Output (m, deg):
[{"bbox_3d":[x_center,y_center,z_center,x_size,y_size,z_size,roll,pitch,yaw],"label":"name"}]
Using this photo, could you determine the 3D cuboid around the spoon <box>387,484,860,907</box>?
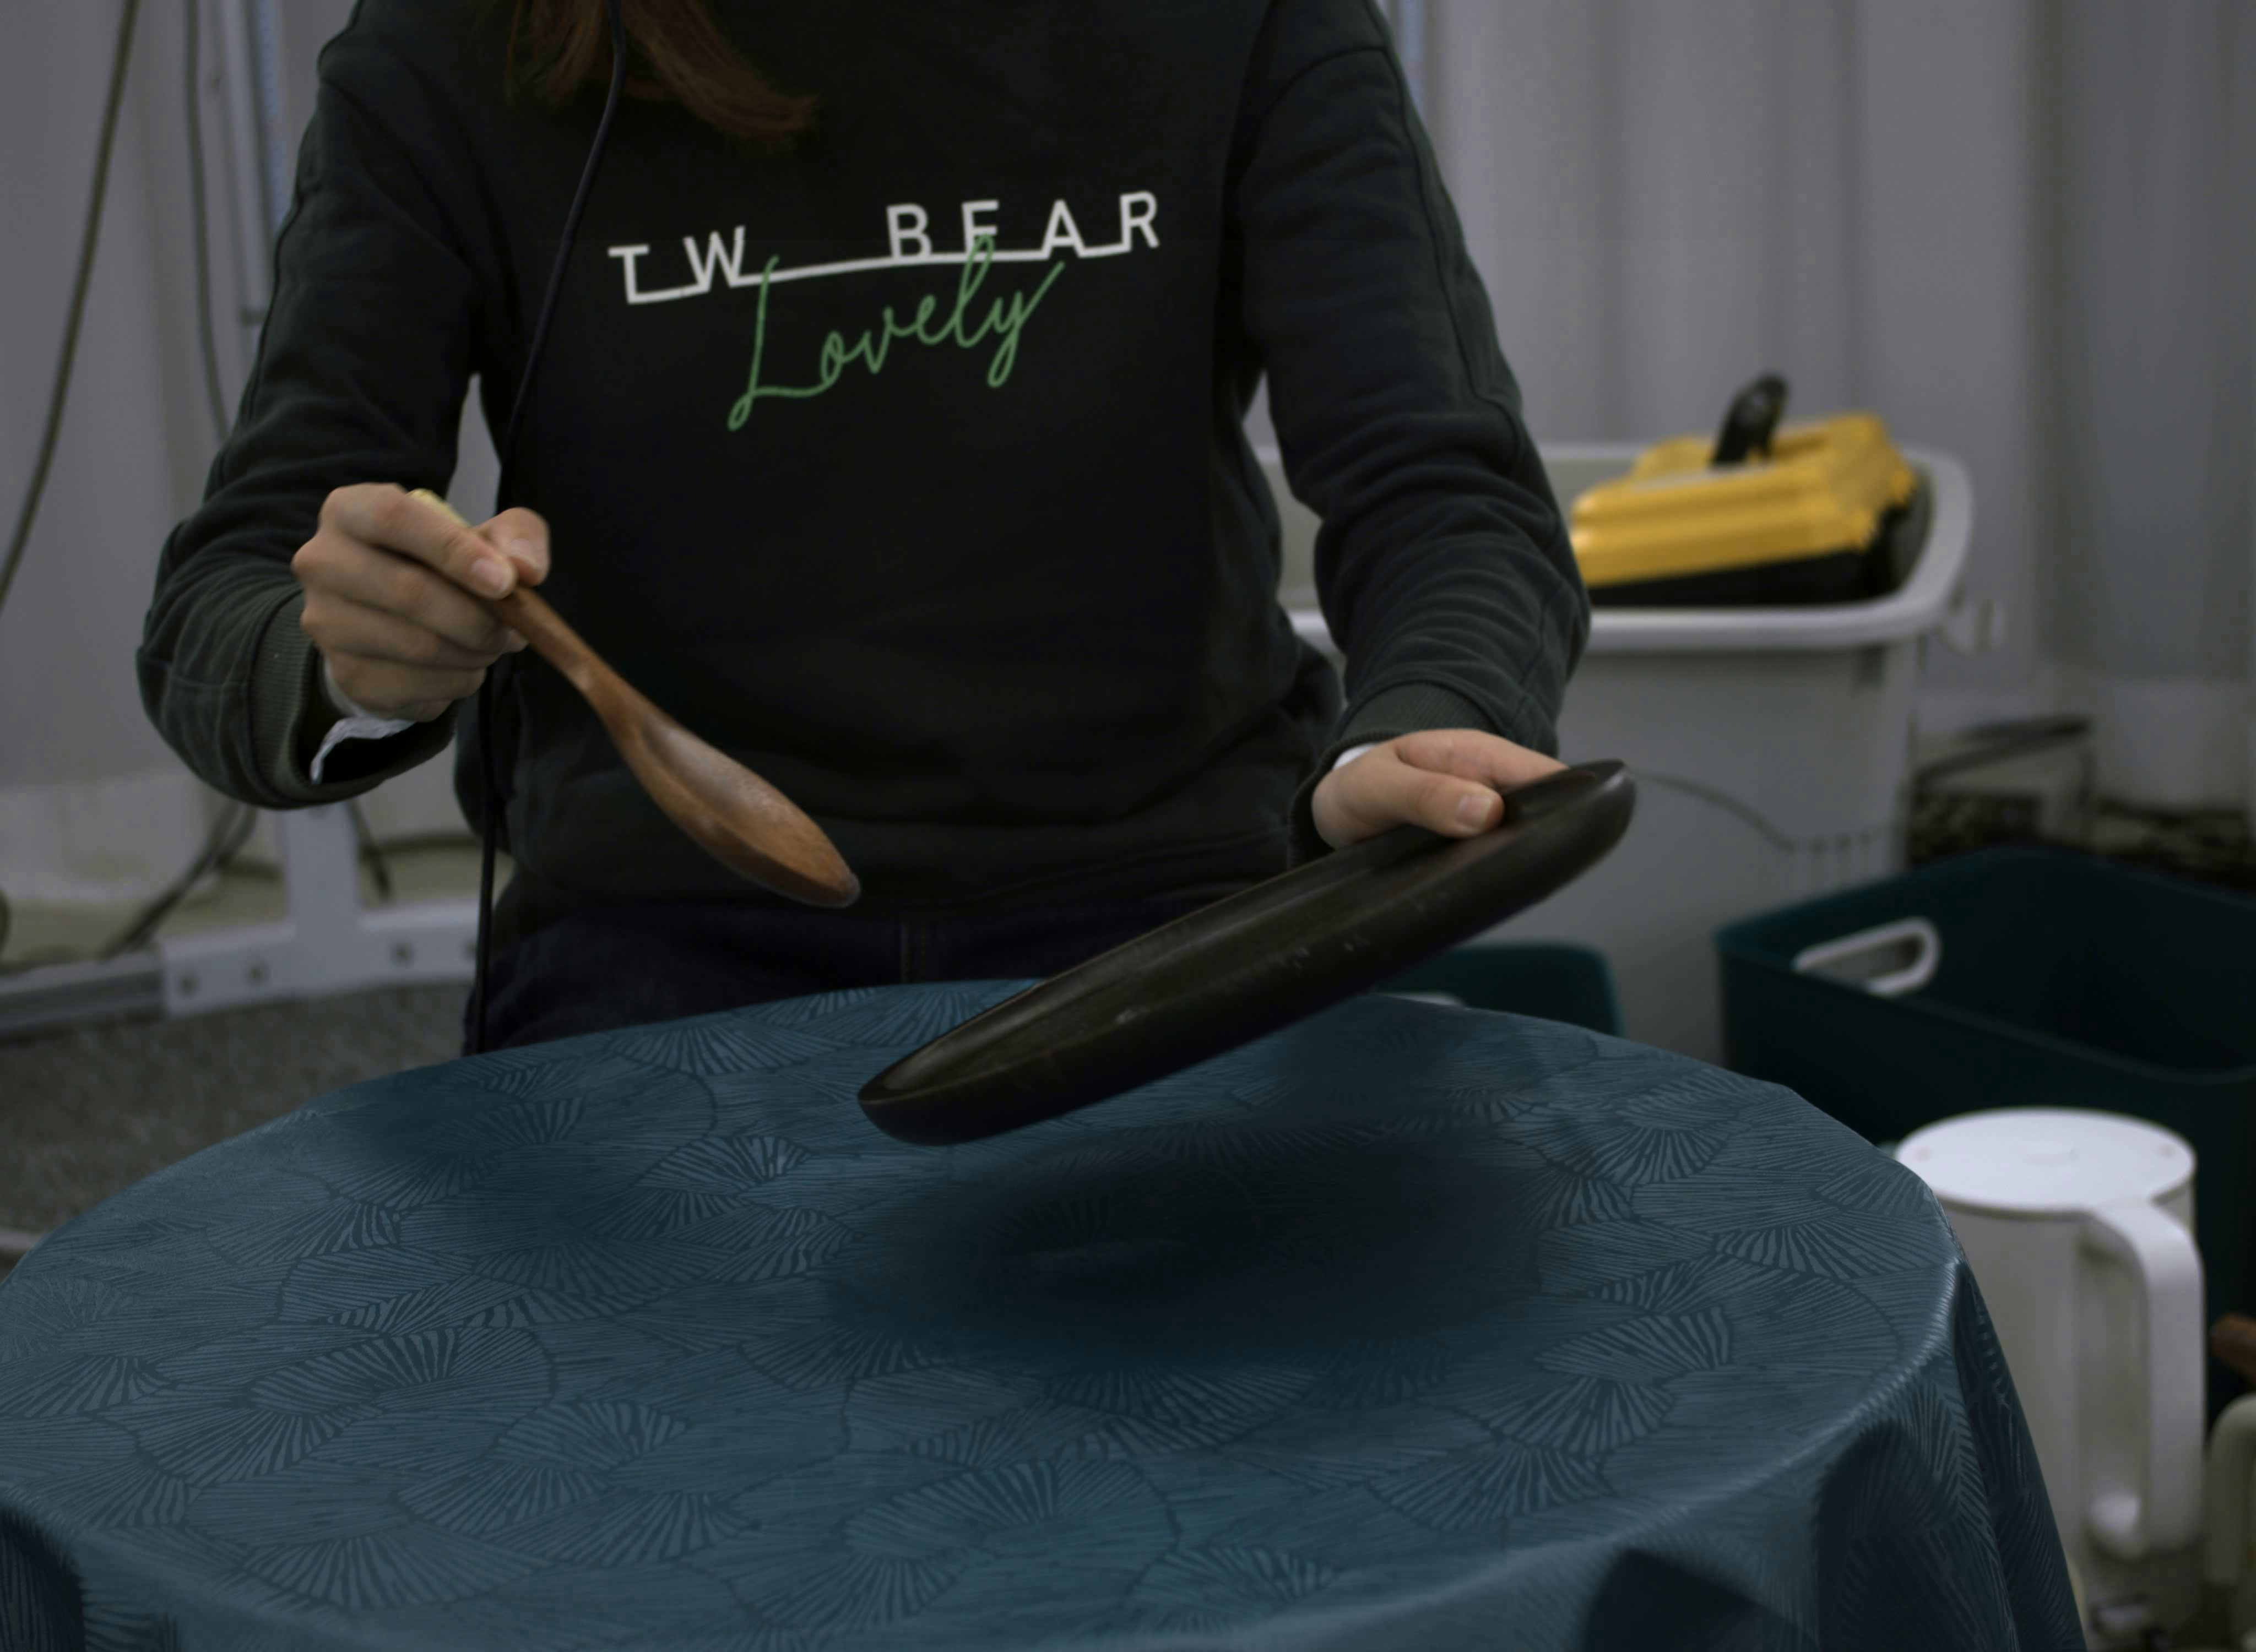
[{"bbox_3d":[-0.159,-0.038,1.671,0.218,0.017,0.075,43,16,31],"label":"spoon"}]

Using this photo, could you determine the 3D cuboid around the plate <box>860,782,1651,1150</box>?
[{"bbox_3d":[0.040,0.042,1.640,0.254,0.029,0.255,-22,5,1],"label":"plate"}]
